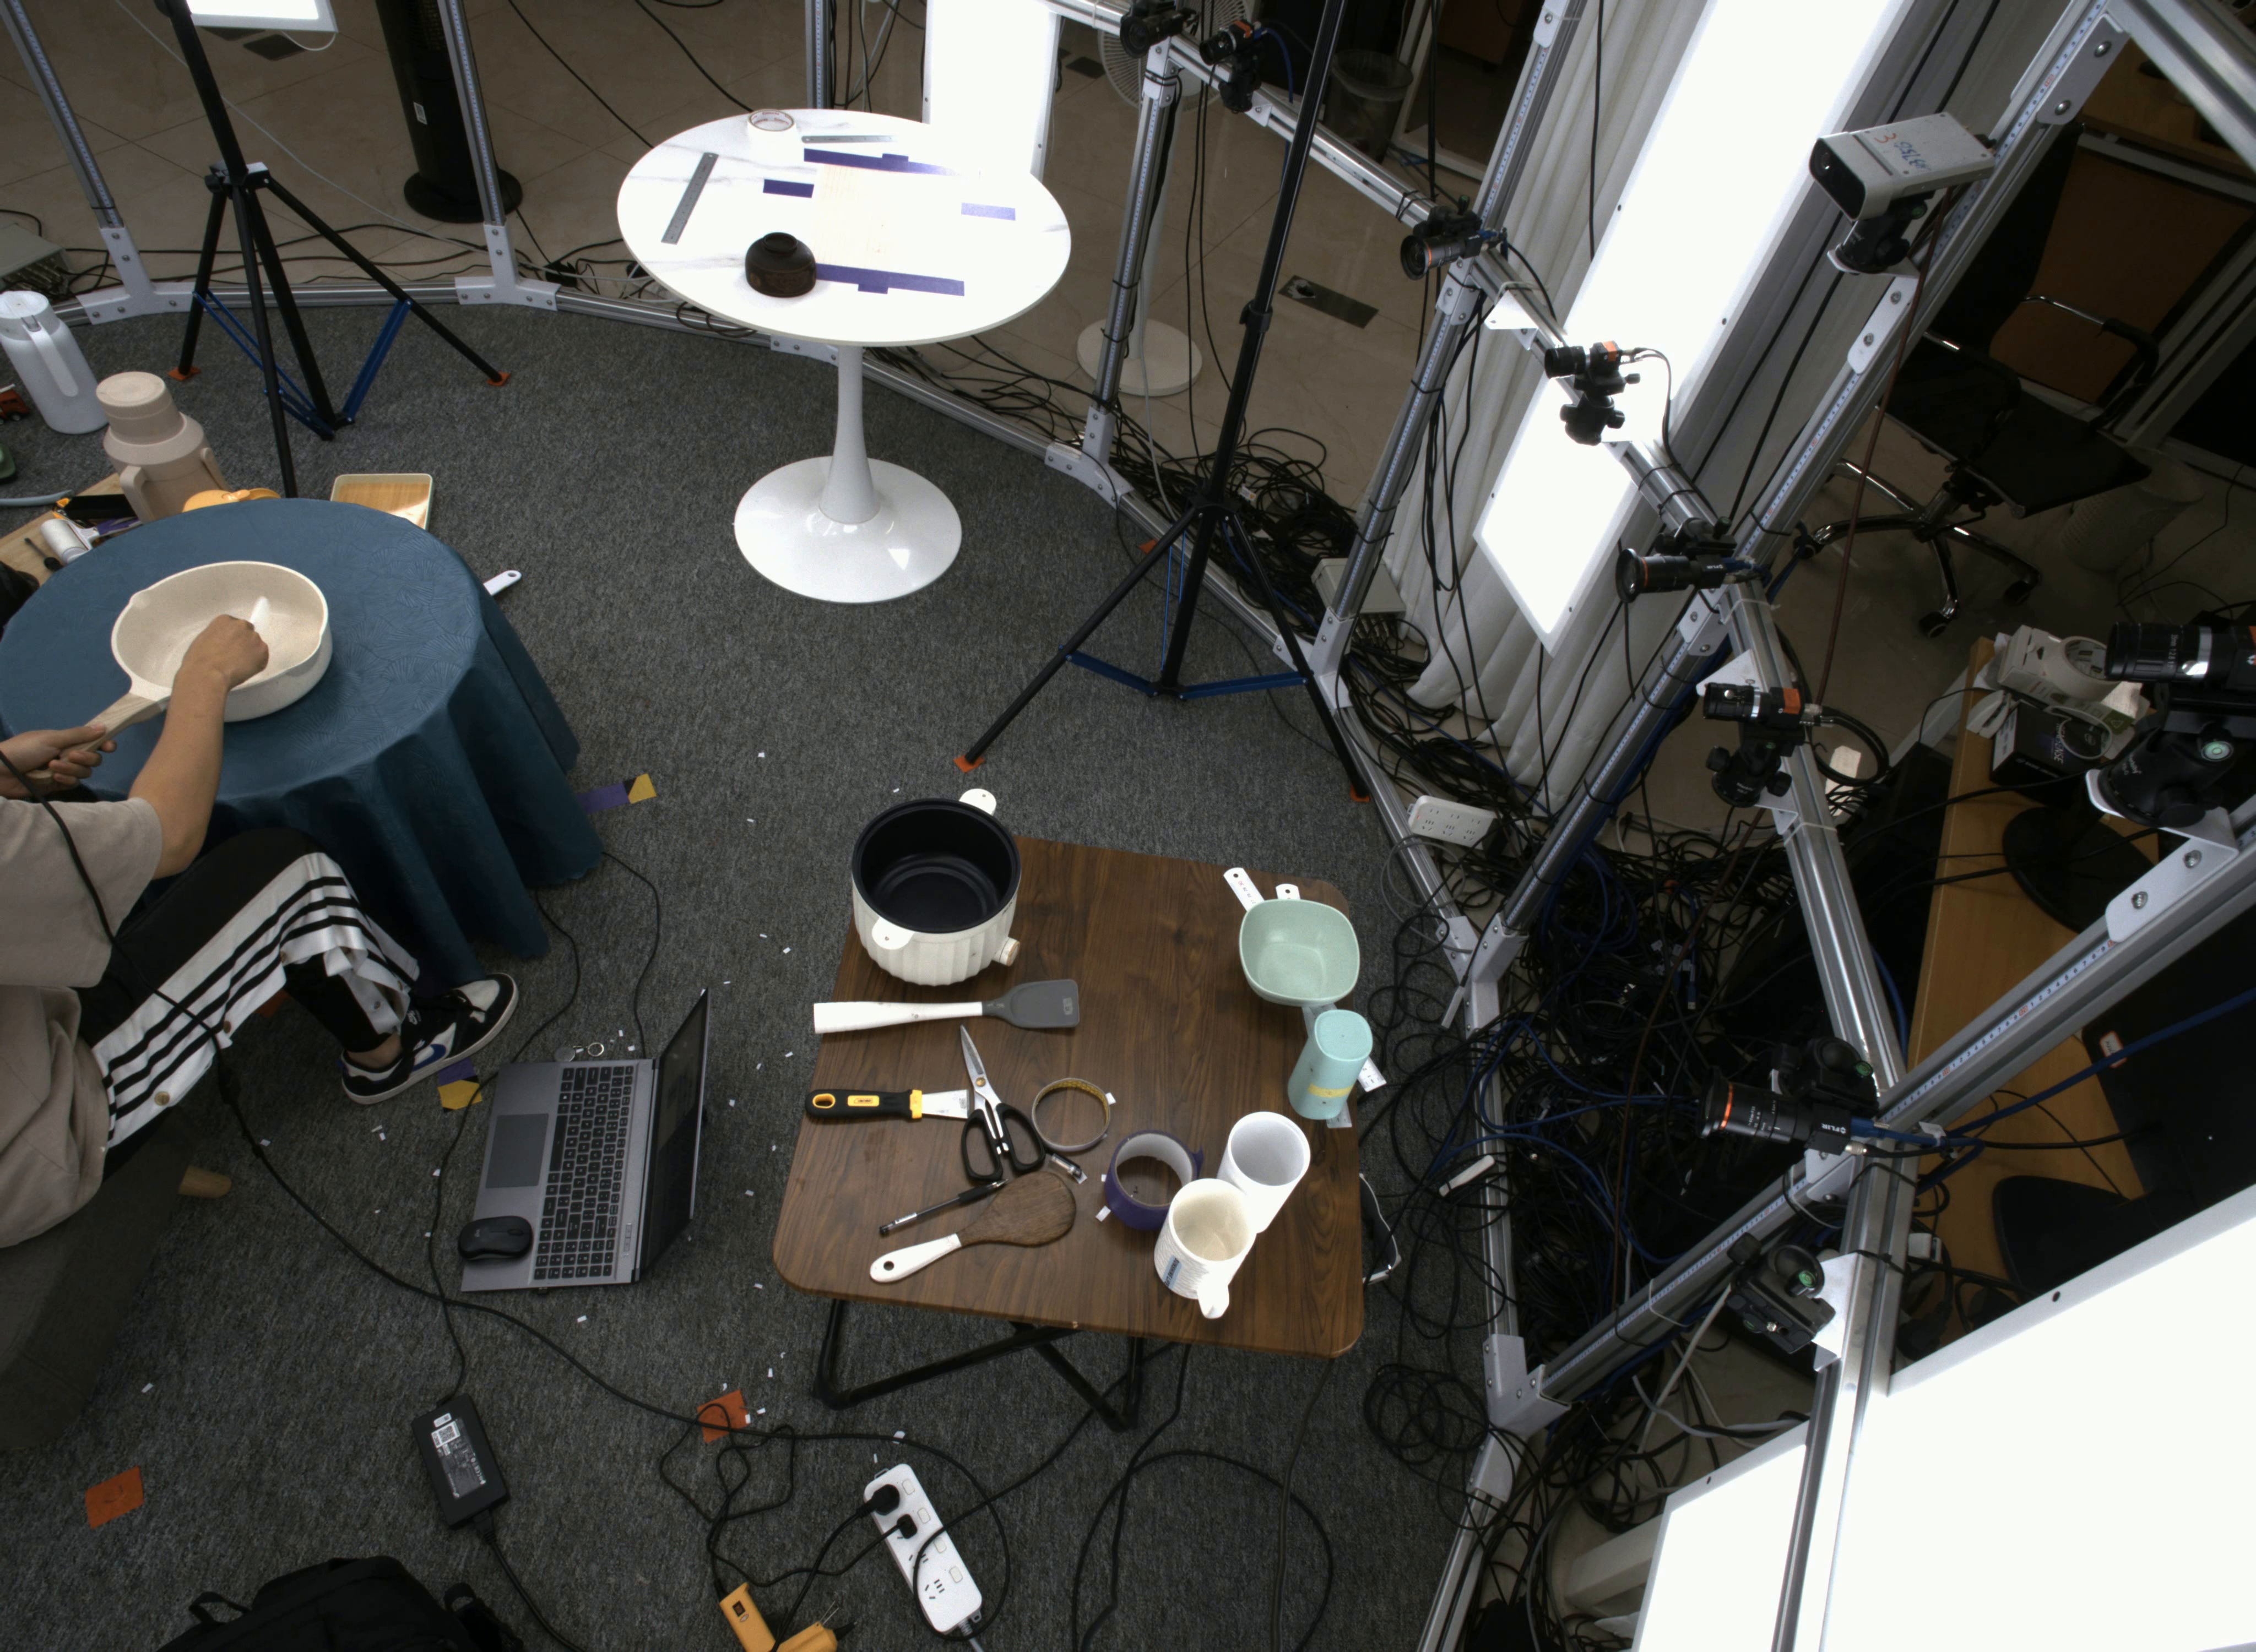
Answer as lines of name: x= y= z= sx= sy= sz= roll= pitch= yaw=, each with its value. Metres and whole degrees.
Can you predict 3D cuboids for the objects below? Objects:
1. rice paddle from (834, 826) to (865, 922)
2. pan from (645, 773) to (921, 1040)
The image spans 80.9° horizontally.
rice paddle: x=-0.336 y=0.055 z=1.566 sx=0.030 sy=0.069 sz=0.200 roll=23 pitch=17 yaw=-19
pan: x=-0.434 y=0.112 z=1.588 sx=0.259 sy=0.104 sz=0.433 roll=31 pitch=54 yaw=8
